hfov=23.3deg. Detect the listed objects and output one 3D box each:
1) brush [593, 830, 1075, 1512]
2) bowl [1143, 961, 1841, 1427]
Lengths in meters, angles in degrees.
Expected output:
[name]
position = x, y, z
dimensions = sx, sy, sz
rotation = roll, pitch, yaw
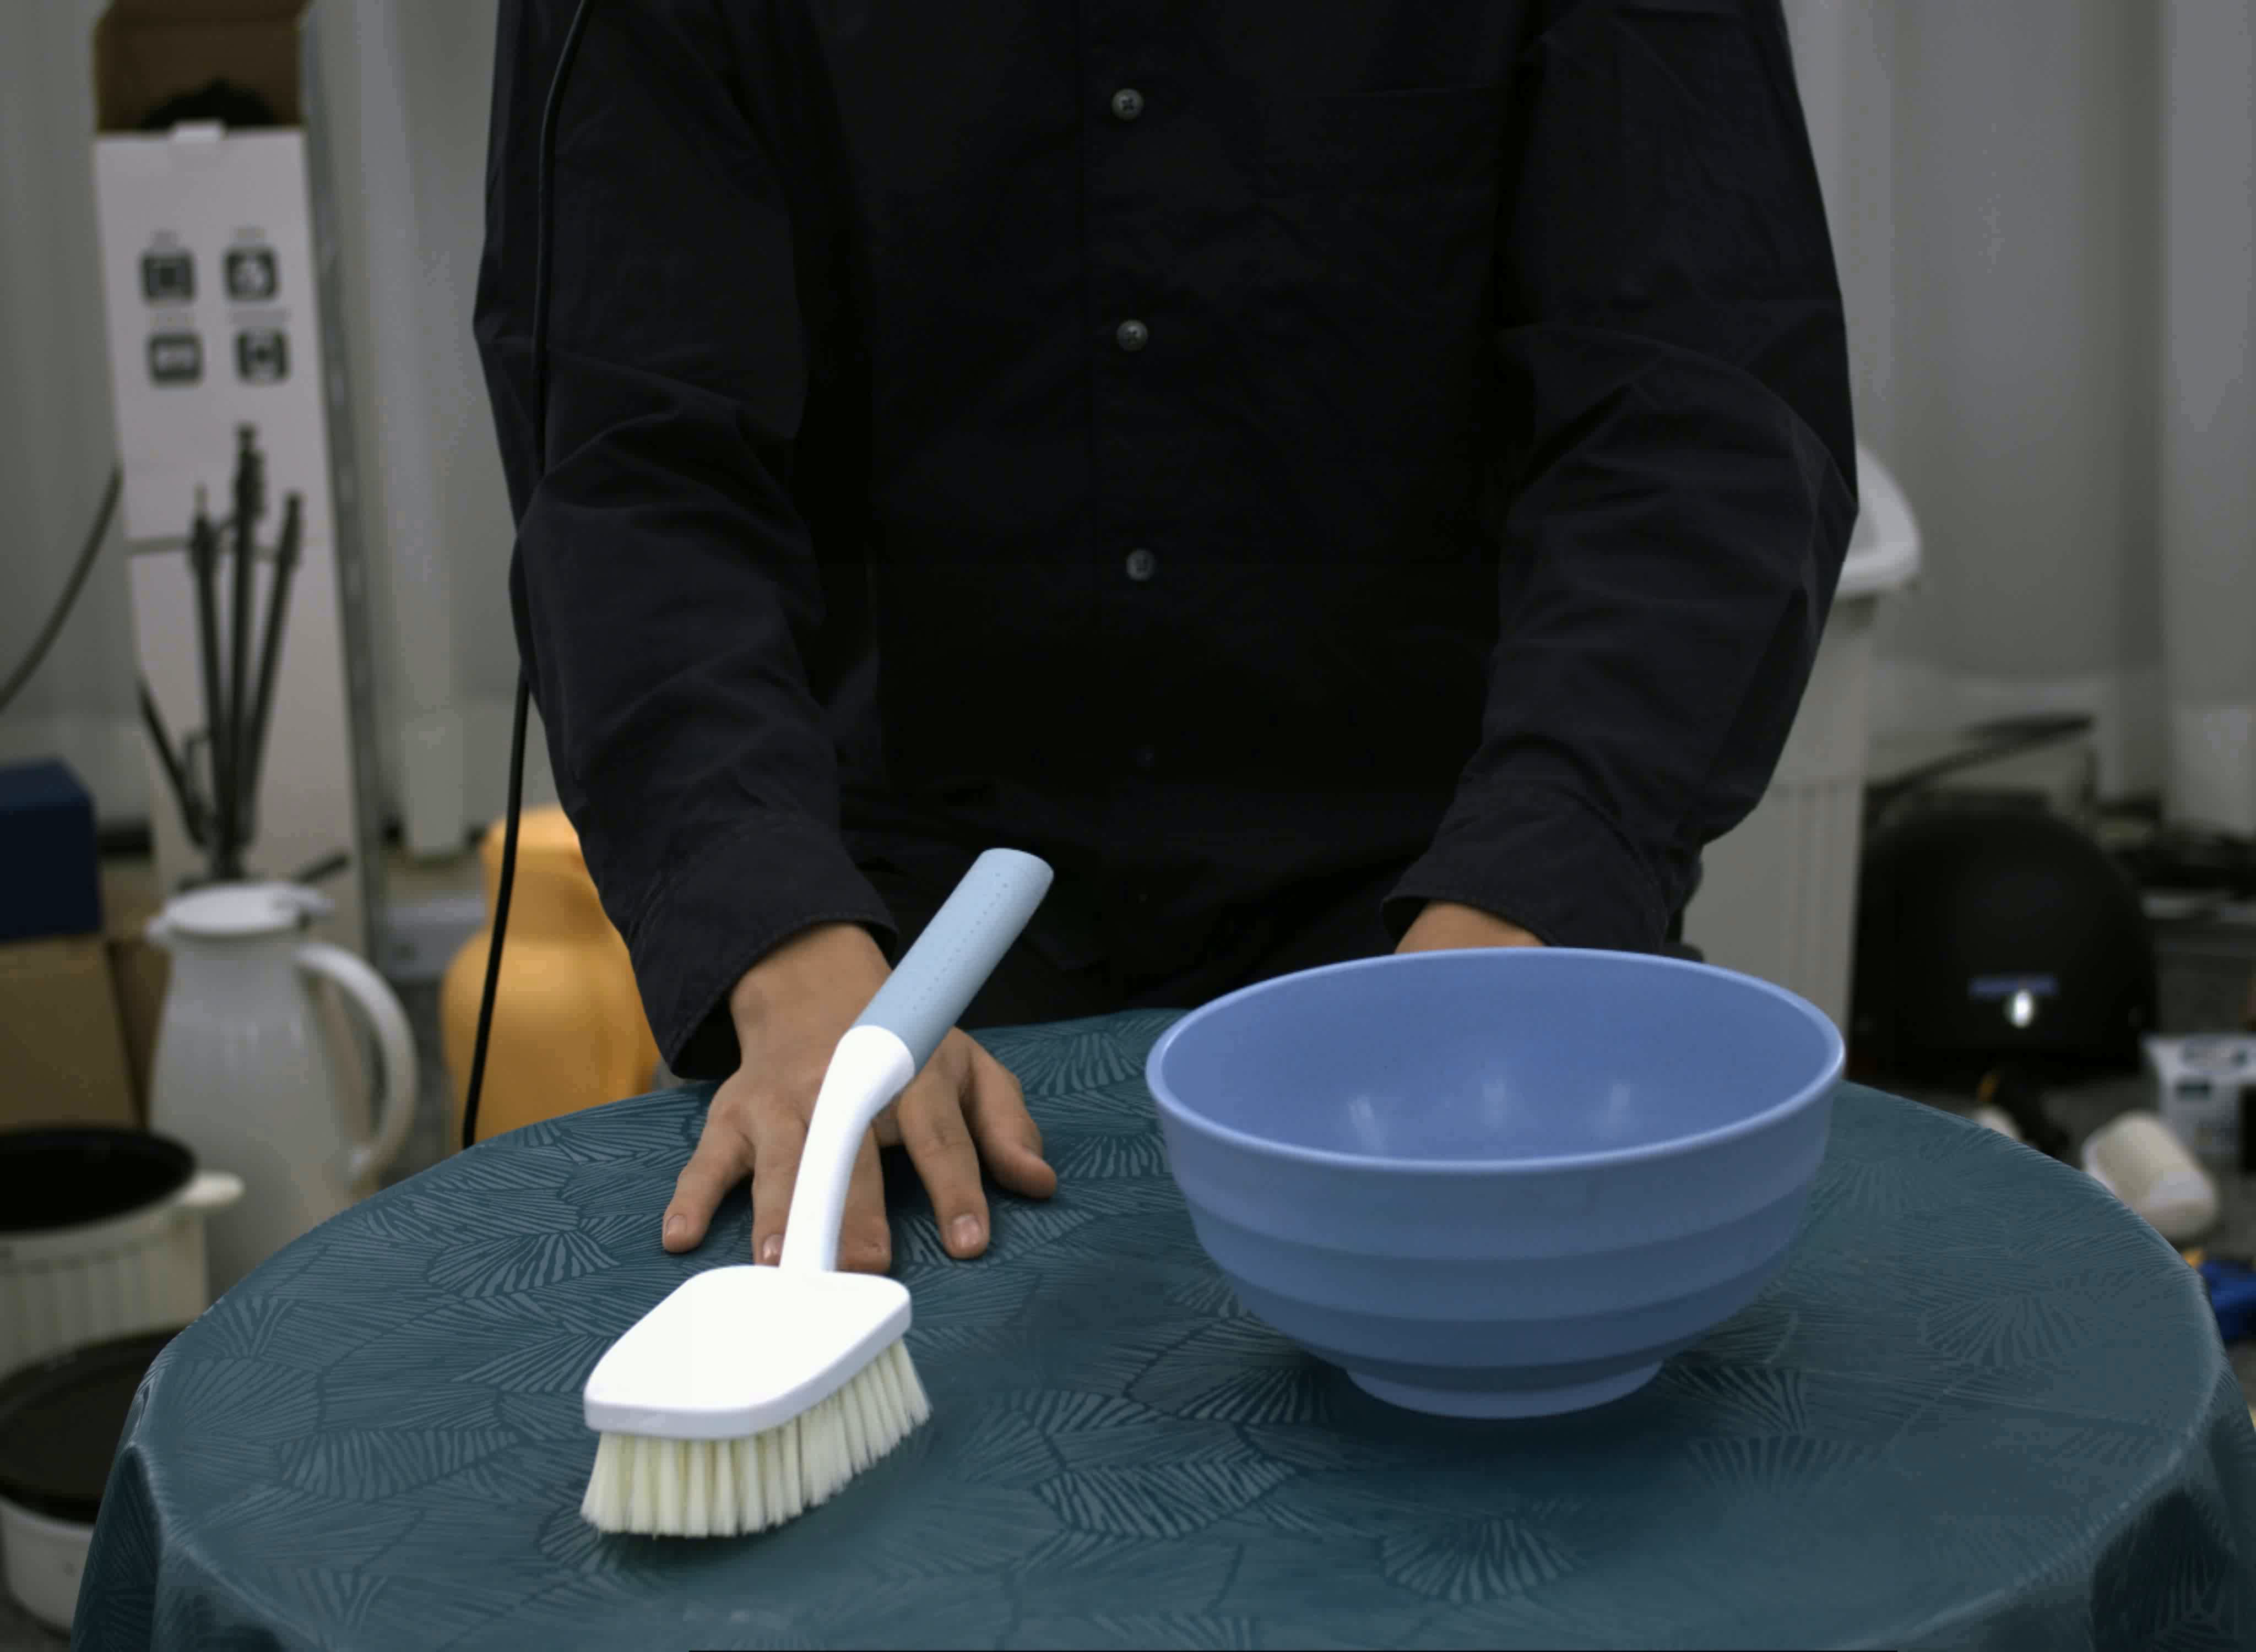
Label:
[brush]
position = -0.070, 0.112, 1.583
dimensions = 0.083, 0.084, 0.328
rotation = 35, 33, 1
[bowl]
position = 0.104, 0.110, 1.547
dimensions = 0.196, 0.095, 0.198
rotation = -3, 14, 1
